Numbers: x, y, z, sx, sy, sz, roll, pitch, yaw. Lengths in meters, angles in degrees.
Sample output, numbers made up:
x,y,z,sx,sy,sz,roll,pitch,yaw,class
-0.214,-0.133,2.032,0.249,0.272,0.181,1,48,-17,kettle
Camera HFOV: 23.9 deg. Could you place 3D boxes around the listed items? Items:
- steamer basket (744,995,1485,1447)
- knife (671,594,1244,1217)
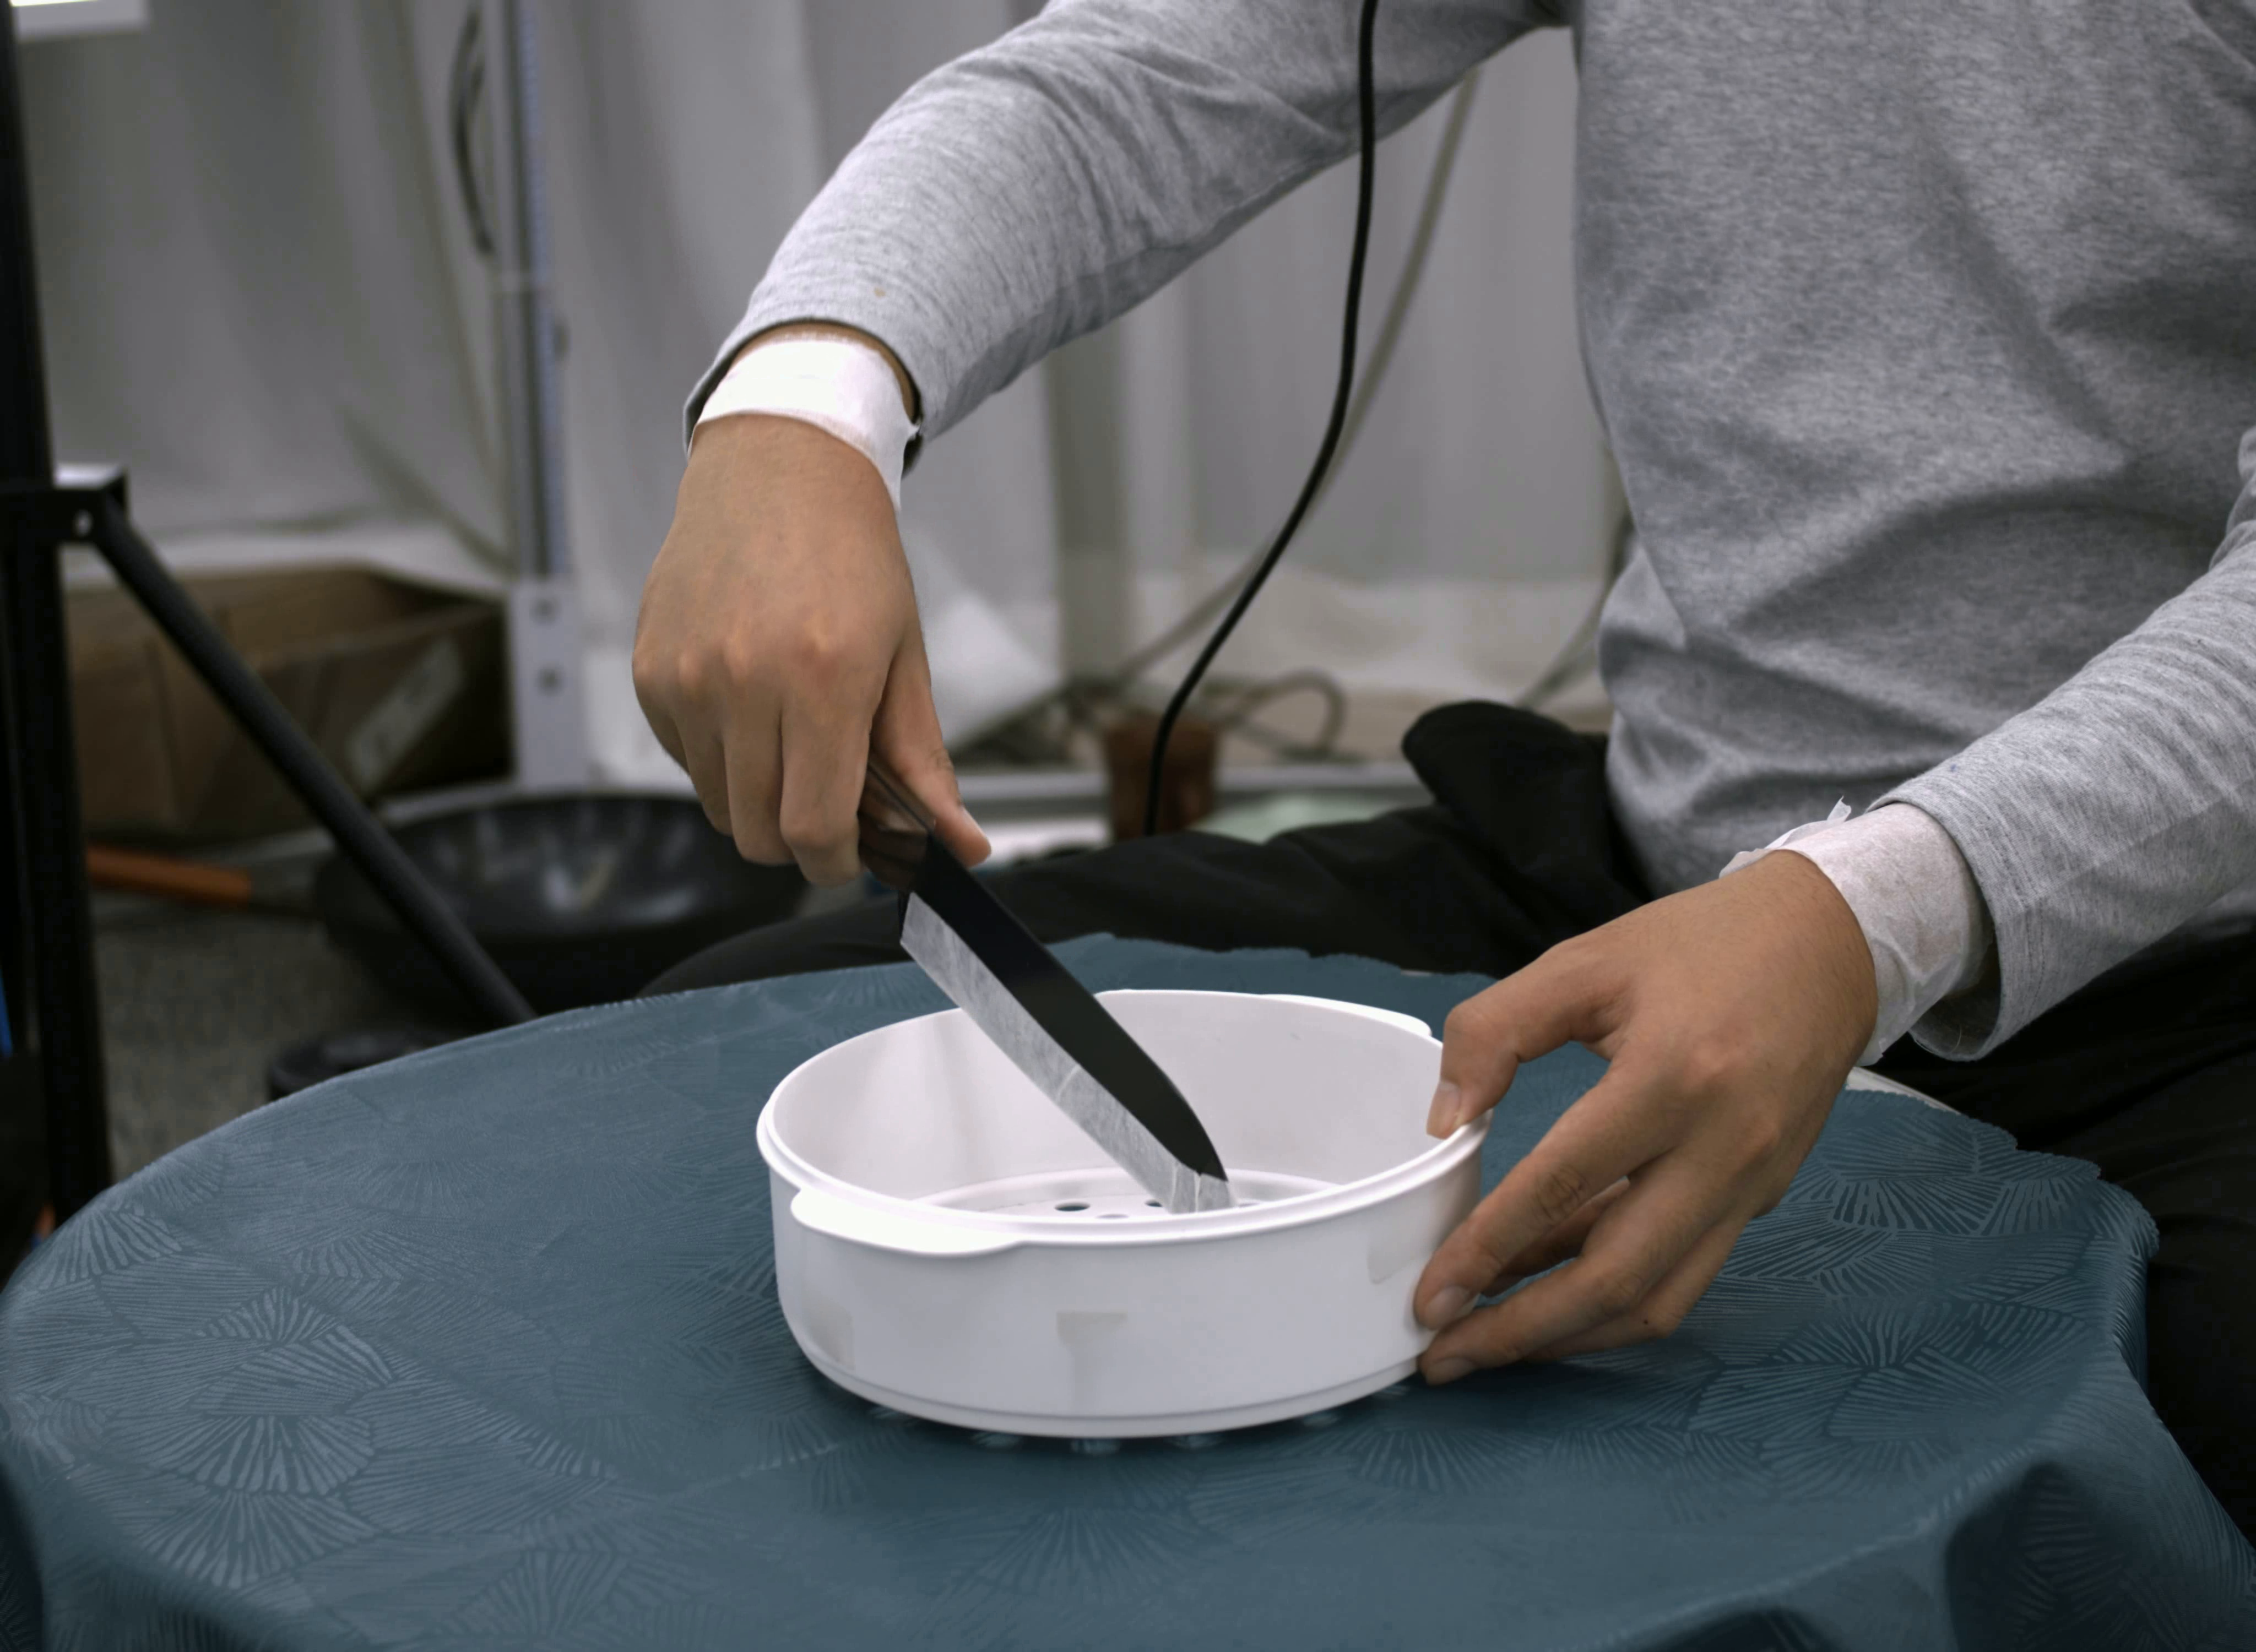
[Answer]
x,y,z,sx,sy,sz,roll,pitch,yaw,class
-0.003,0.107,1.444,0.206,0.069,0.226,10,19,36,steamer basket
-0.048,0.025,1.493,0.019,0.050,0.295,-17,47,-31,knife
